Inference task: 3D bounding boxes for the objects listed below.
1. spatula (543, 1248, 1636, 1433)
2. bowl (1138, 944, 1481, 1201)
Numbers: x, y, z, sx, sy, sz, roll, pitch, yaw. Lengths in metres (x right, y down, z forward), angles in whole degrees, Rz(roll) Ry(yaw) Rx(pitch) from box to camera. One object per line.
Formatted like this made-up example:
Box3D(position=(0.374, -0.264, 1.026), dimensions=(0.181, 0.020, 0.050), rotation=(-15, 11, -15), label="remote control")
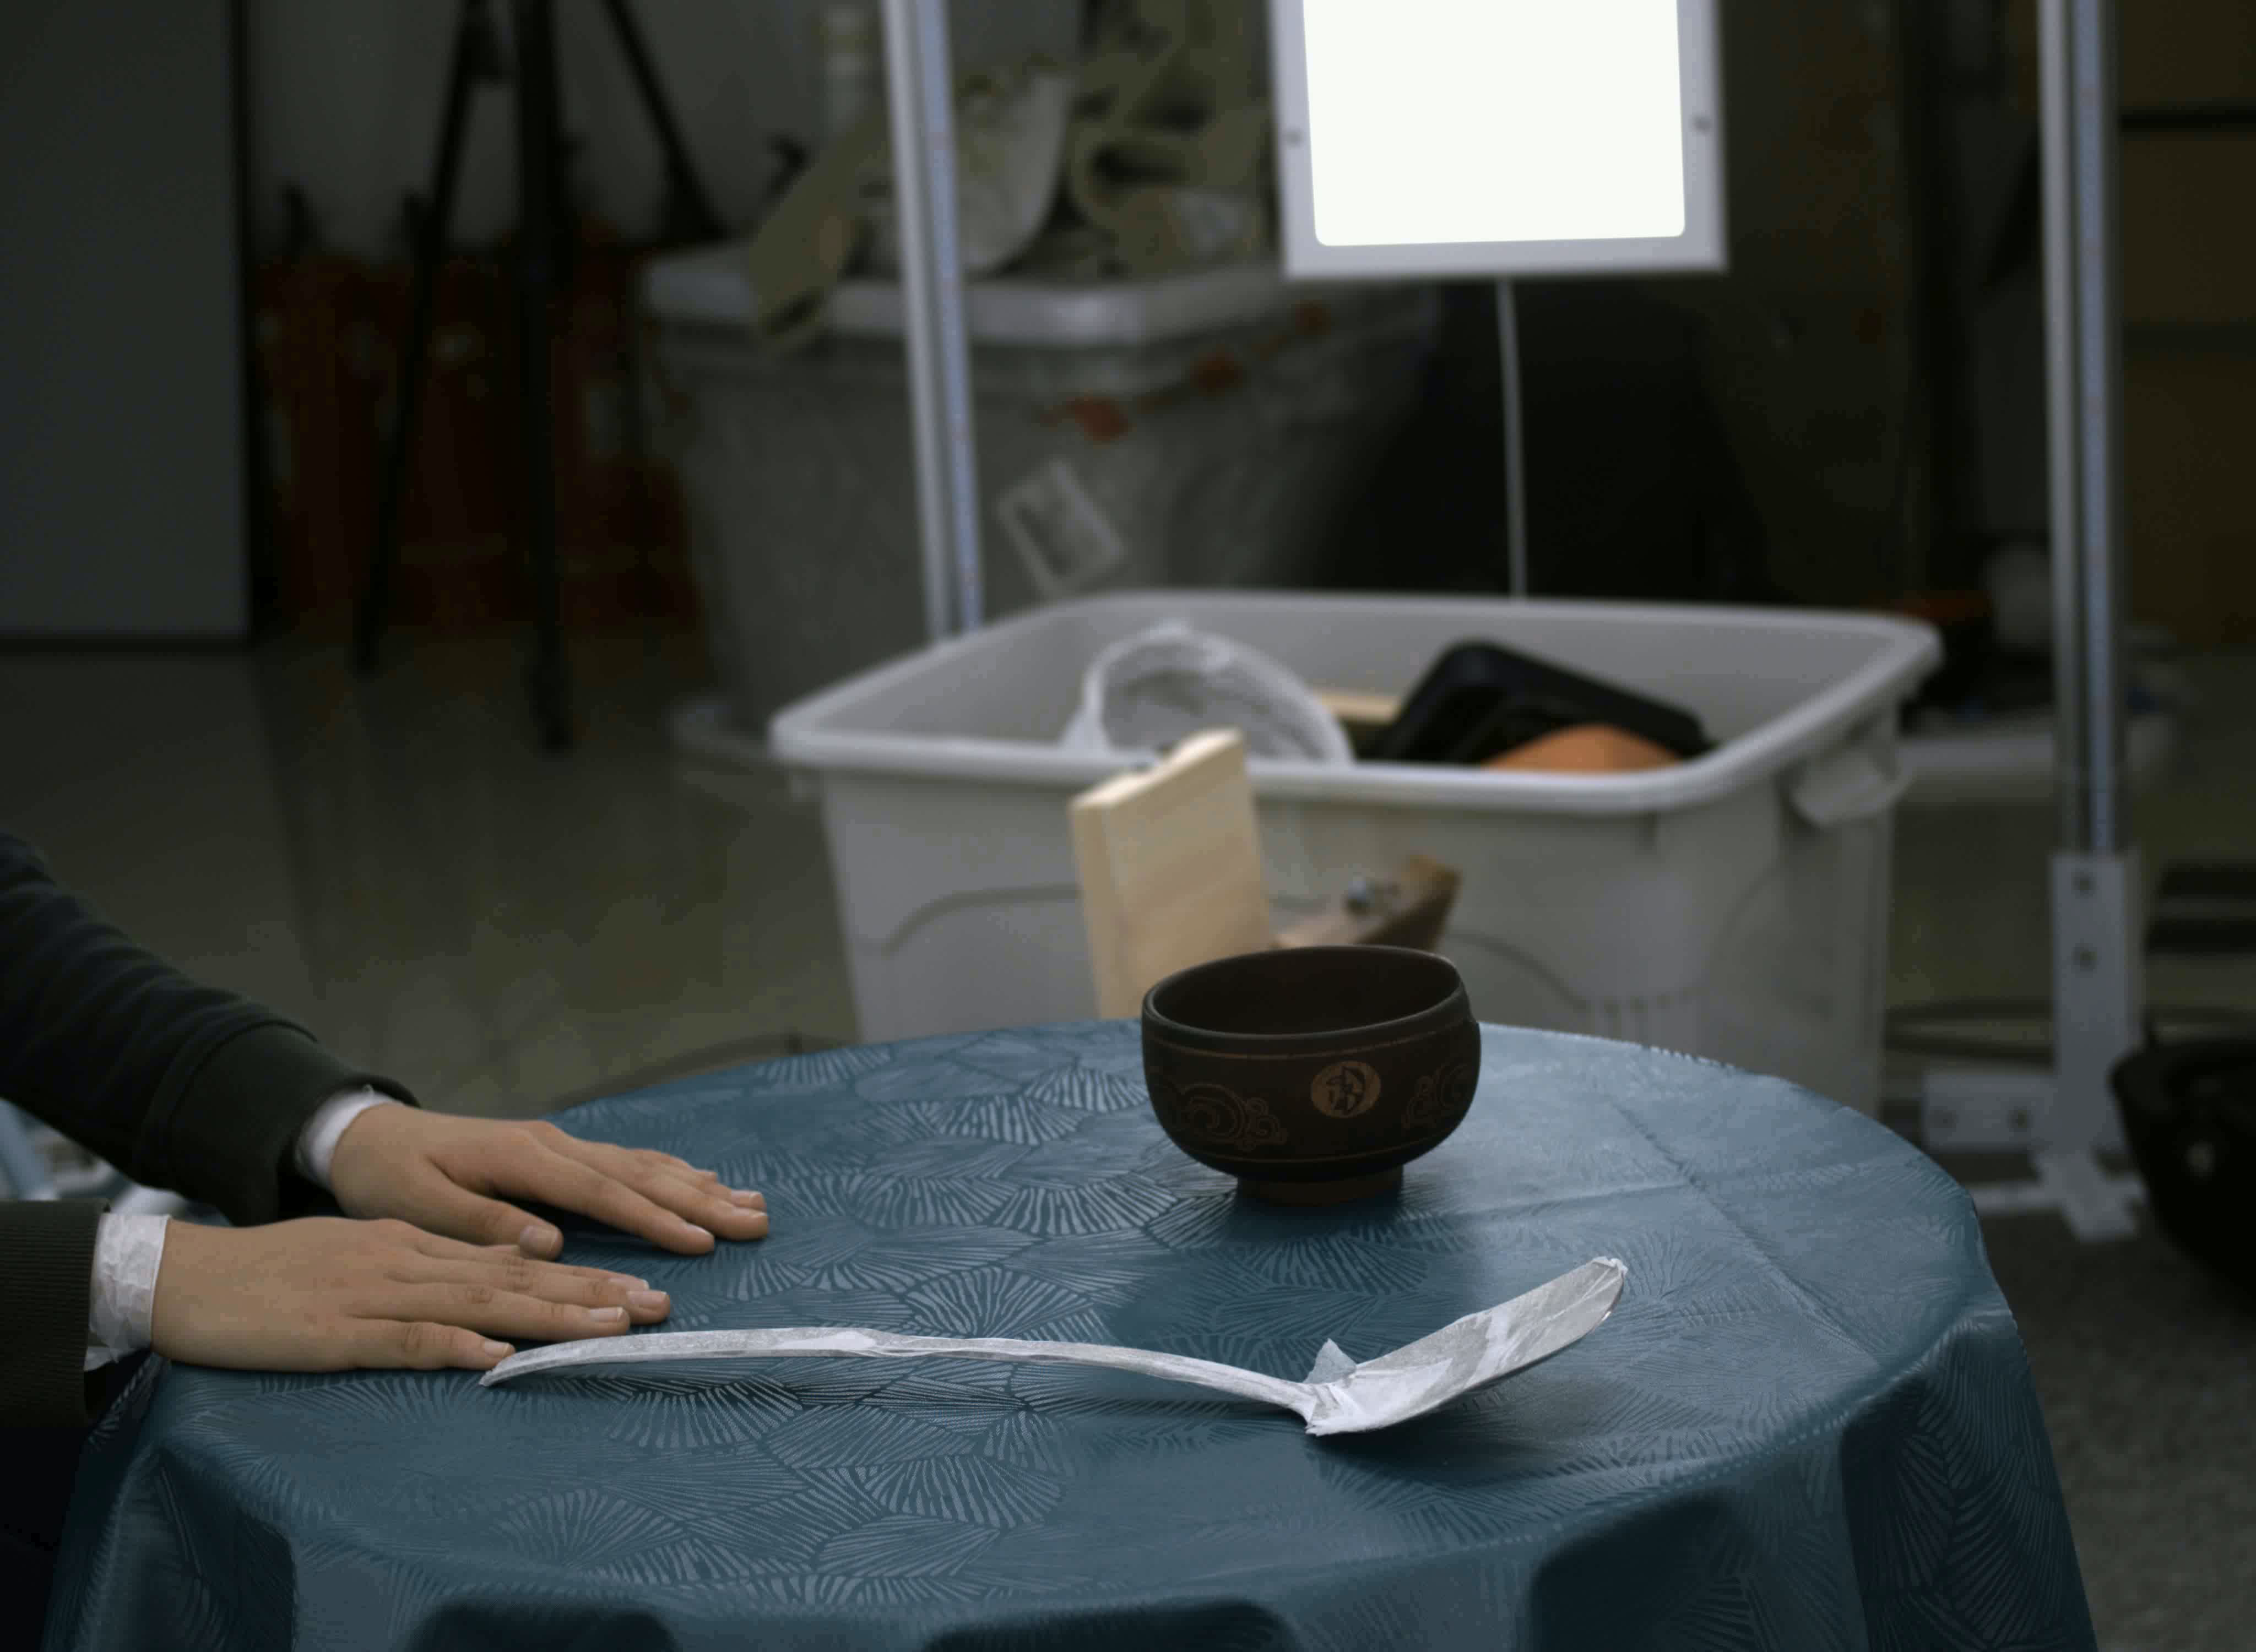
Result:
Box3D(position=(-0.022, 0.157, 1.698), dimensions=(0.370, 0.045, 0.097), rotation=(1, 17, 22), label="spatula")
Box3D(position=(0.063, 0.087, 1.883), dimensions=(0.118, 0.070, 0.118), rotation=(-5, 12, 0), label="bowl")
